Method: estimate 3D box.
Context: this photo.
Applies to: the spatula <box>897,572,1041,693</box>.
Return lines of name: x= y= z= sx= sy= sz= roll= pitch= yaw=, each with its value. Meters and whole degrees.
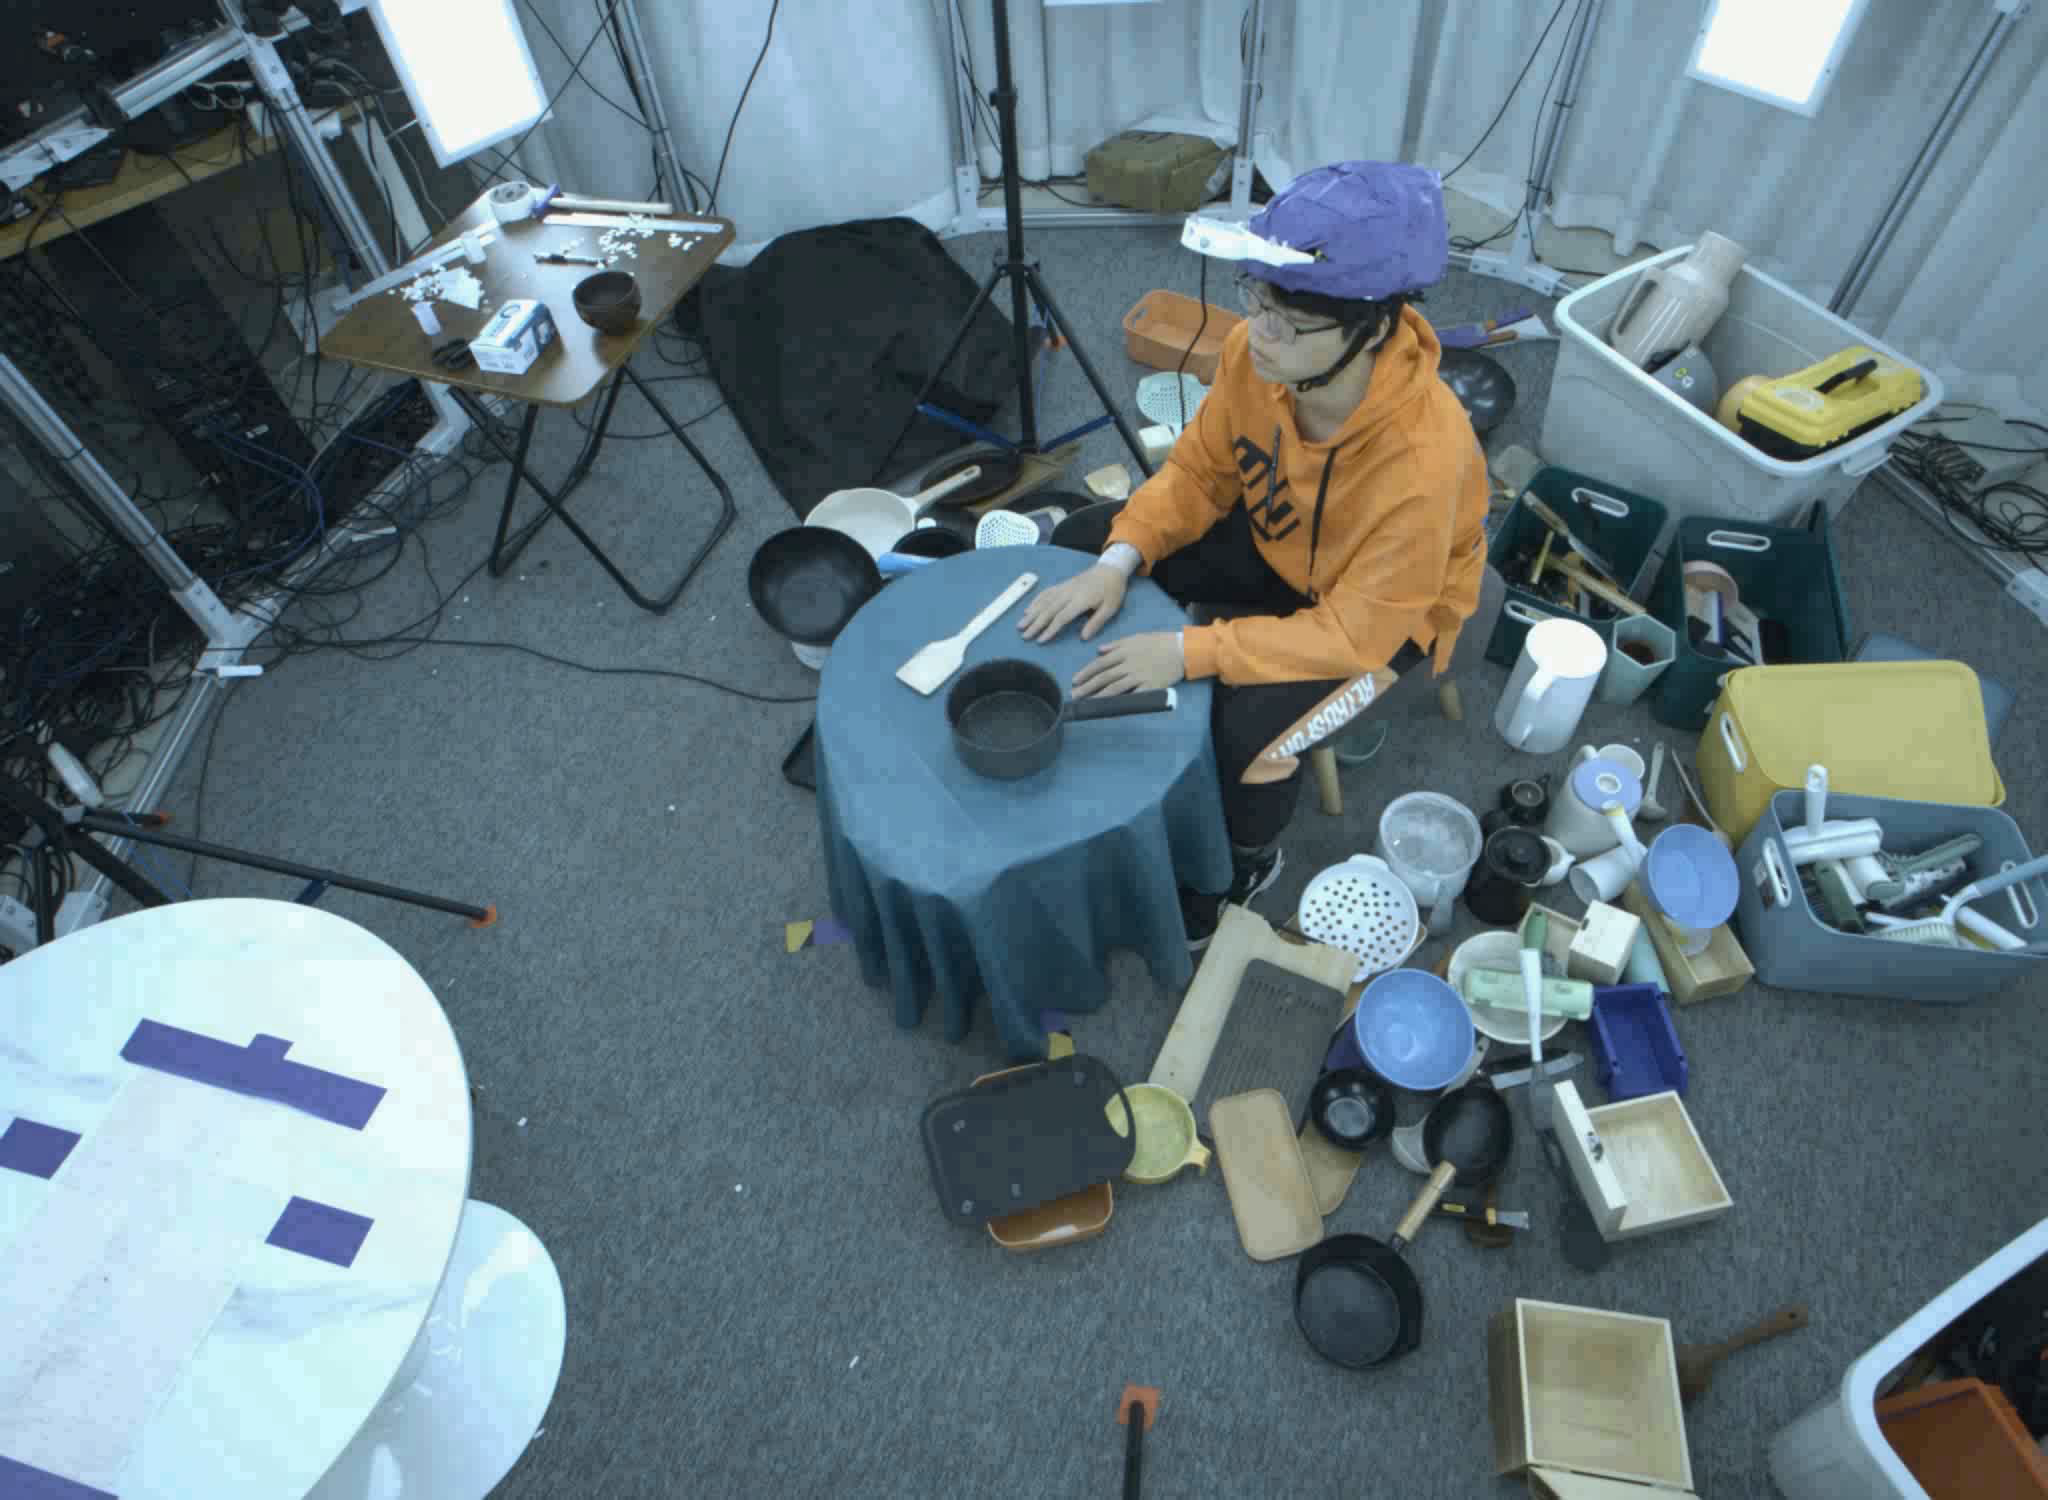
spatula: x=-0.077 y=-0.192 z=1.920 sx=0.071 sy=0.011 sz=0.295 roll=33 pitch=62 yaw=26

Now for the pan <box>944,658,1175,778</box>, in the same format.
pan: x=0.053 y=-0.046 z=1.766 sx=0.328 sy=0.087 sz=0.170 roll=0 pitch=56 yaw=5
